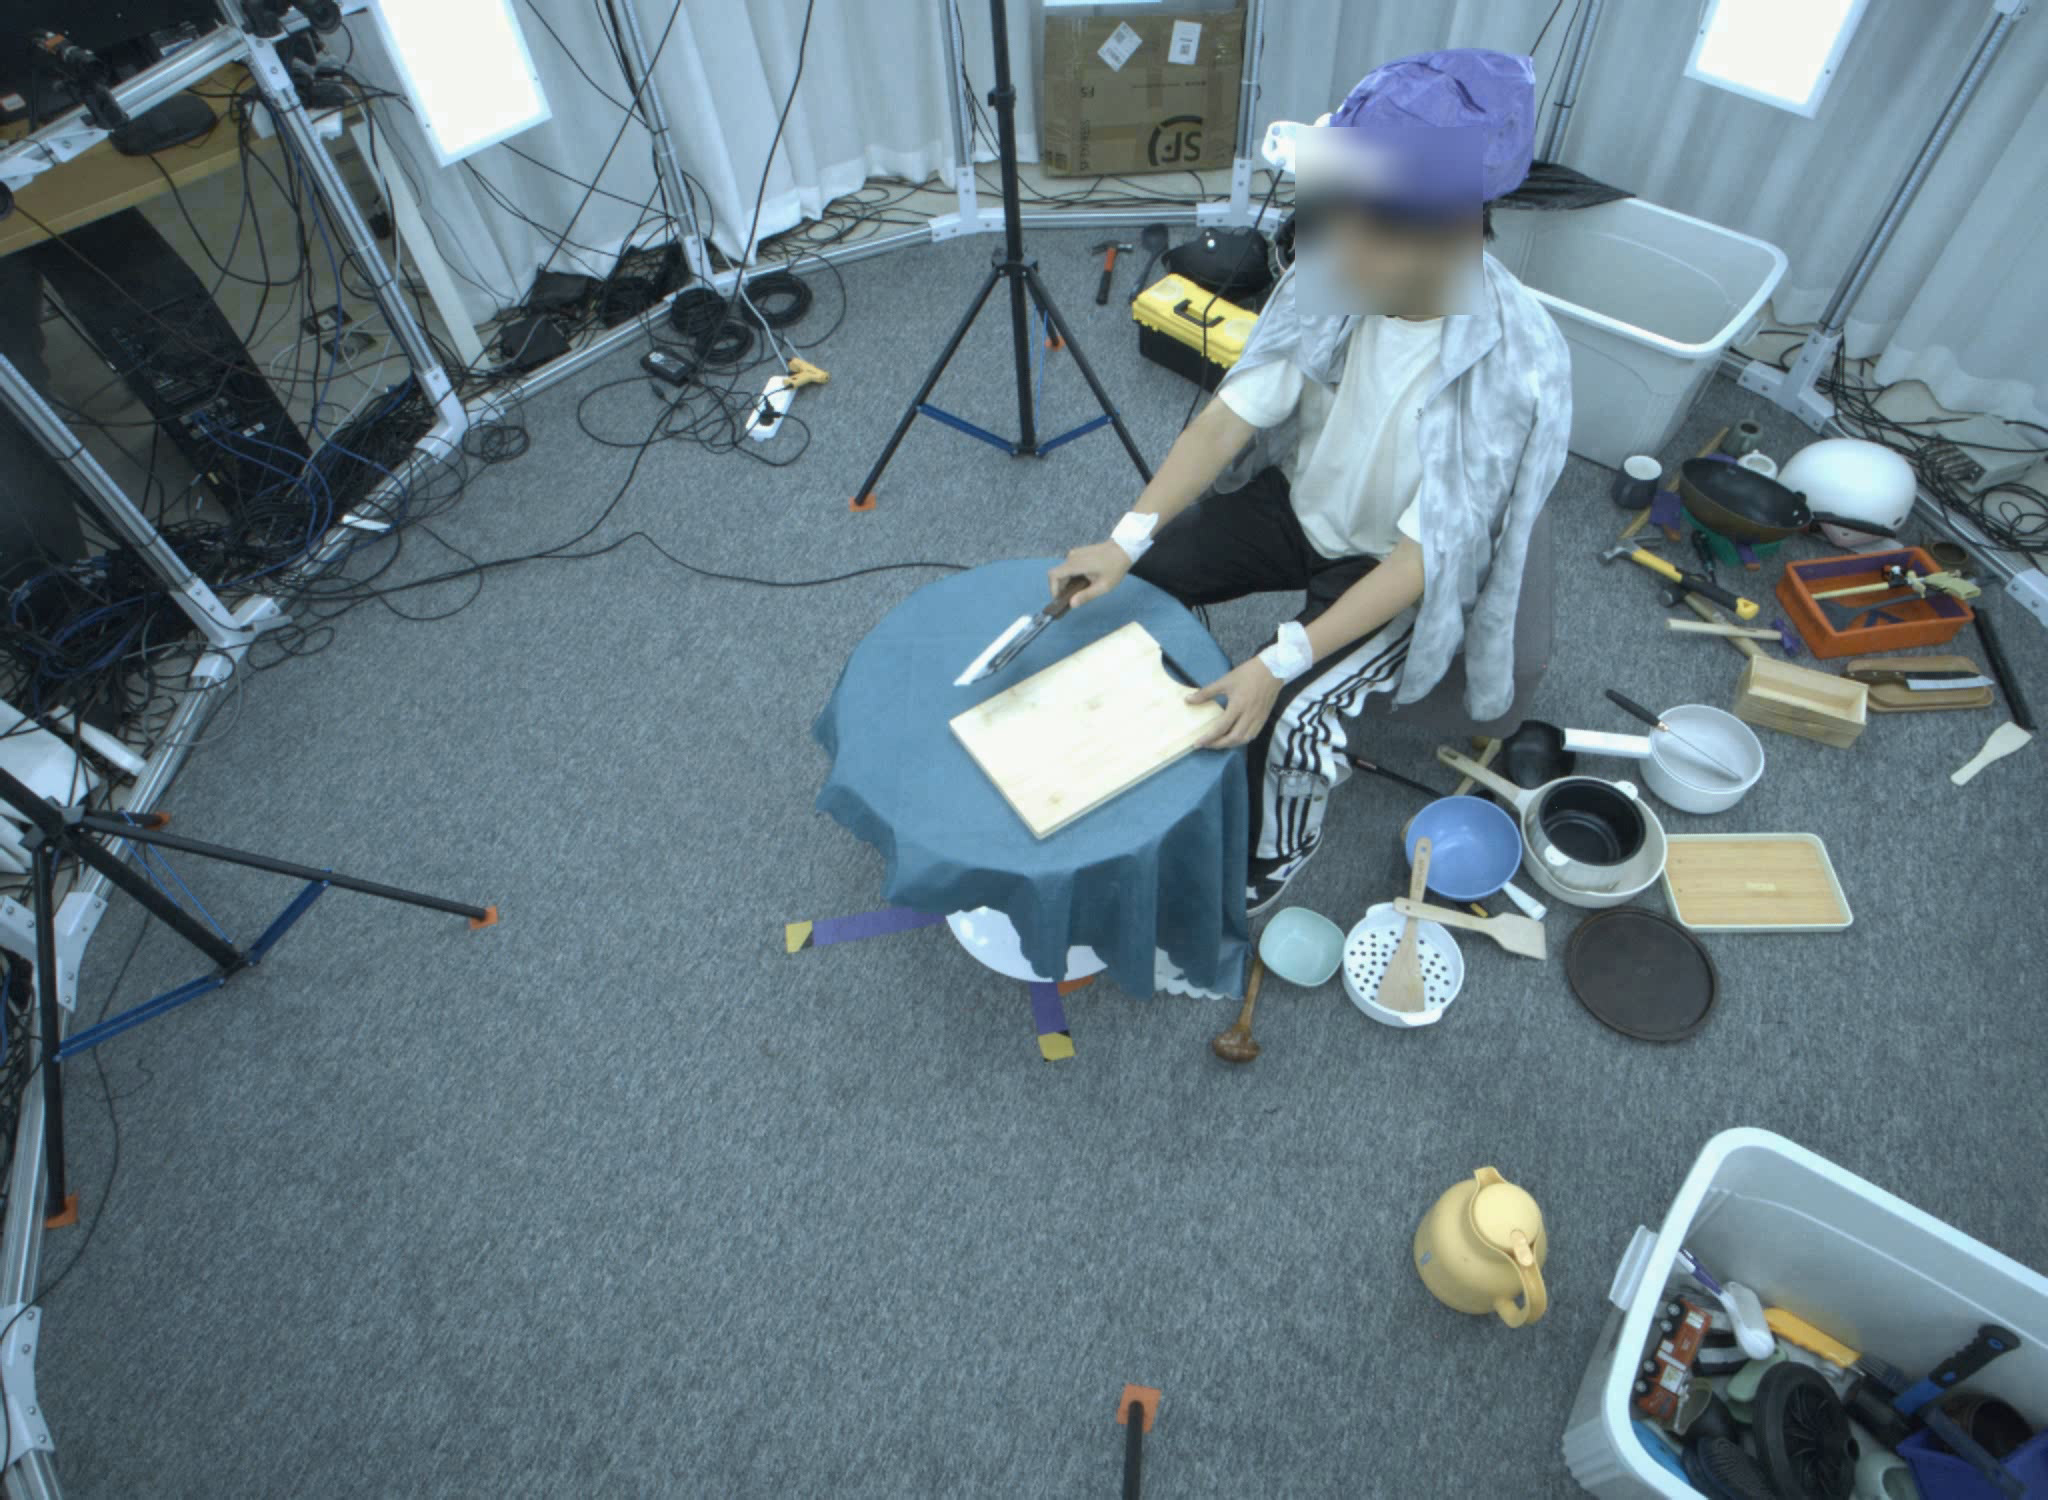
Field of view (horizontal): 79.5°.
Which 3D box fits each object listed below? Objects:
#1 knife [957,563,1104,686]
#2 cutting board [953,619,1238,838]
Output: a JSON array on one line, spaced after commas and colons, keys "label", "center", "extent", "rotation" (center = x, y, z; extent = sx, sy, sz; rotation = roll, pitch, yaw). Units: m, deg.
[{"label": "knife", "center": [0.011, -0.187, 1.830], "extent": [0.066, 0.024, 0.301], "rotation": [12, 49, 47]}, {"label": "cutting board", "center": [0.101, -0.041, 1.805], "extent": [0.351, 0.024, 0.246], "rotation": [-30, 60, -18]}]
